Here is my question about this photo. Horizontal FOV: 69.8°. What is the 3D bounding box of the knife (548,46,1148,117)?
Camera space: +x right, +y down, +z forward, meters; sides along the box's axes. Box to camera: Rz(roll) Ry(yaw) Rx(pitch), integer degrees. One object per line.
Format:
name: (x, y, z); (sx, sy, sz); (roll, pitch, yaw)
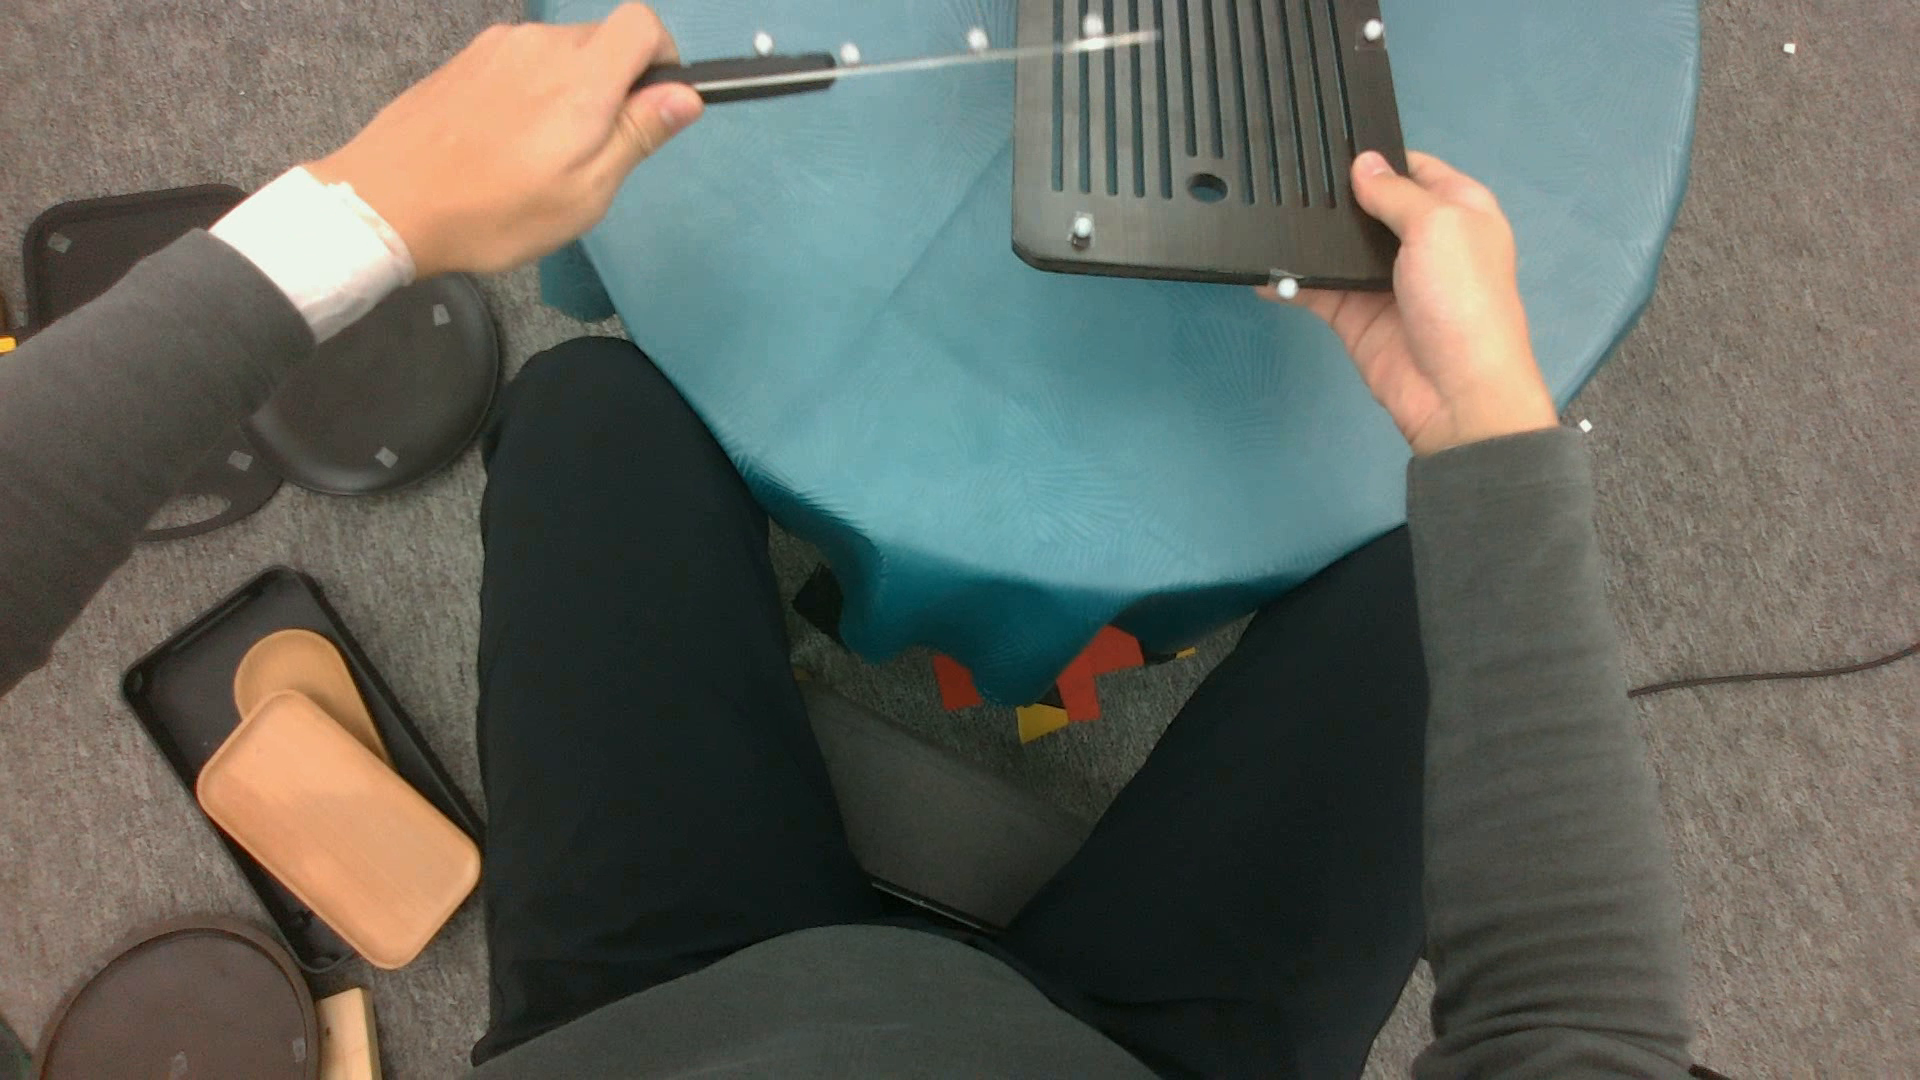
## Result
knife: (-0.046, -0.182, 0.537); (0.238, 0.024, 0.016); (-4, 114, 3)

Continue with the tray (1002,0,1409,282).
tray: (0.105, -0.242, 0.643); (0.170, 0.018, 0.307); (3, 59, -3)
